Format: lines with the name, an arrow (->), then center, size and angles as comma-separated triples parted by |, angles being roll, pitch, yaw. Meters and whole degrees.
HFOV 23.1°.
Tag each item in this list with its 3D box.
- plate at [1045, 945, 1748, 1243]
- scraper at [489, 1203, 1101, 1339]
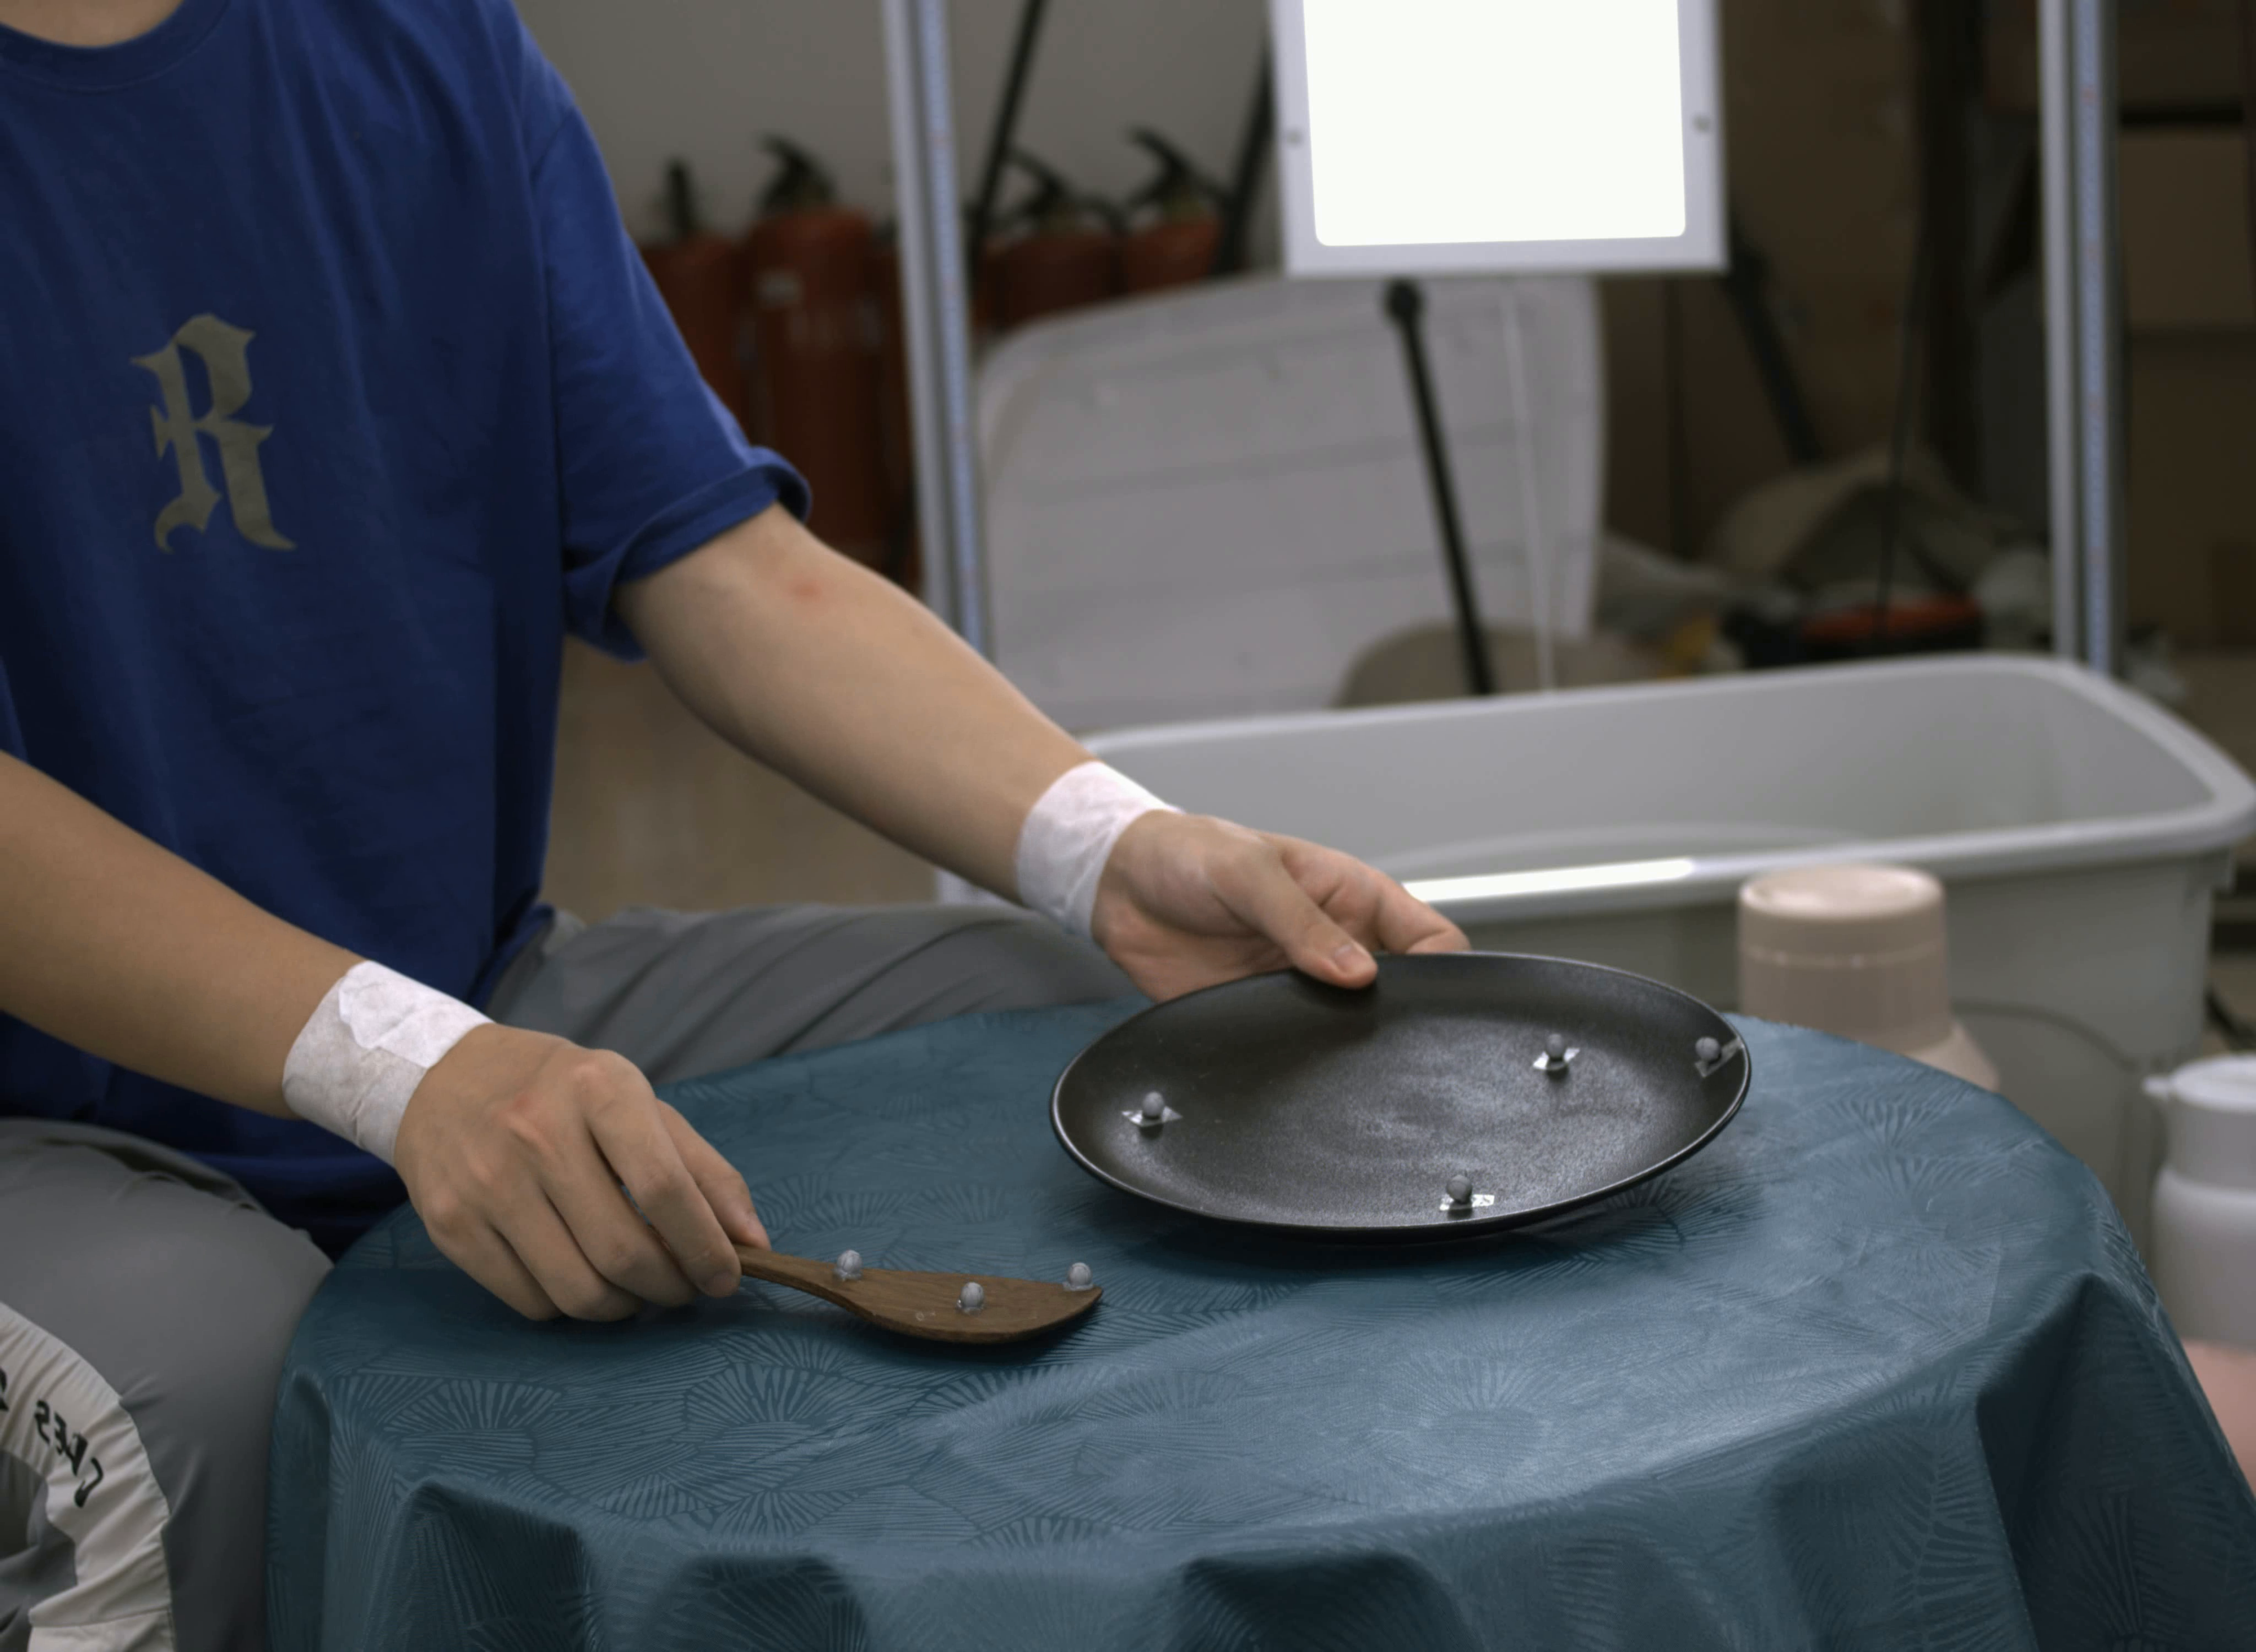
plate -> 0.093, 0.096, 1.895 | 0.244, 0.023, 0.244 | -5, 20, 1
scraper -> -0.113, 0.144, 1.799 | 0.214, 0.011, 0.074 | 8, 10, 24
